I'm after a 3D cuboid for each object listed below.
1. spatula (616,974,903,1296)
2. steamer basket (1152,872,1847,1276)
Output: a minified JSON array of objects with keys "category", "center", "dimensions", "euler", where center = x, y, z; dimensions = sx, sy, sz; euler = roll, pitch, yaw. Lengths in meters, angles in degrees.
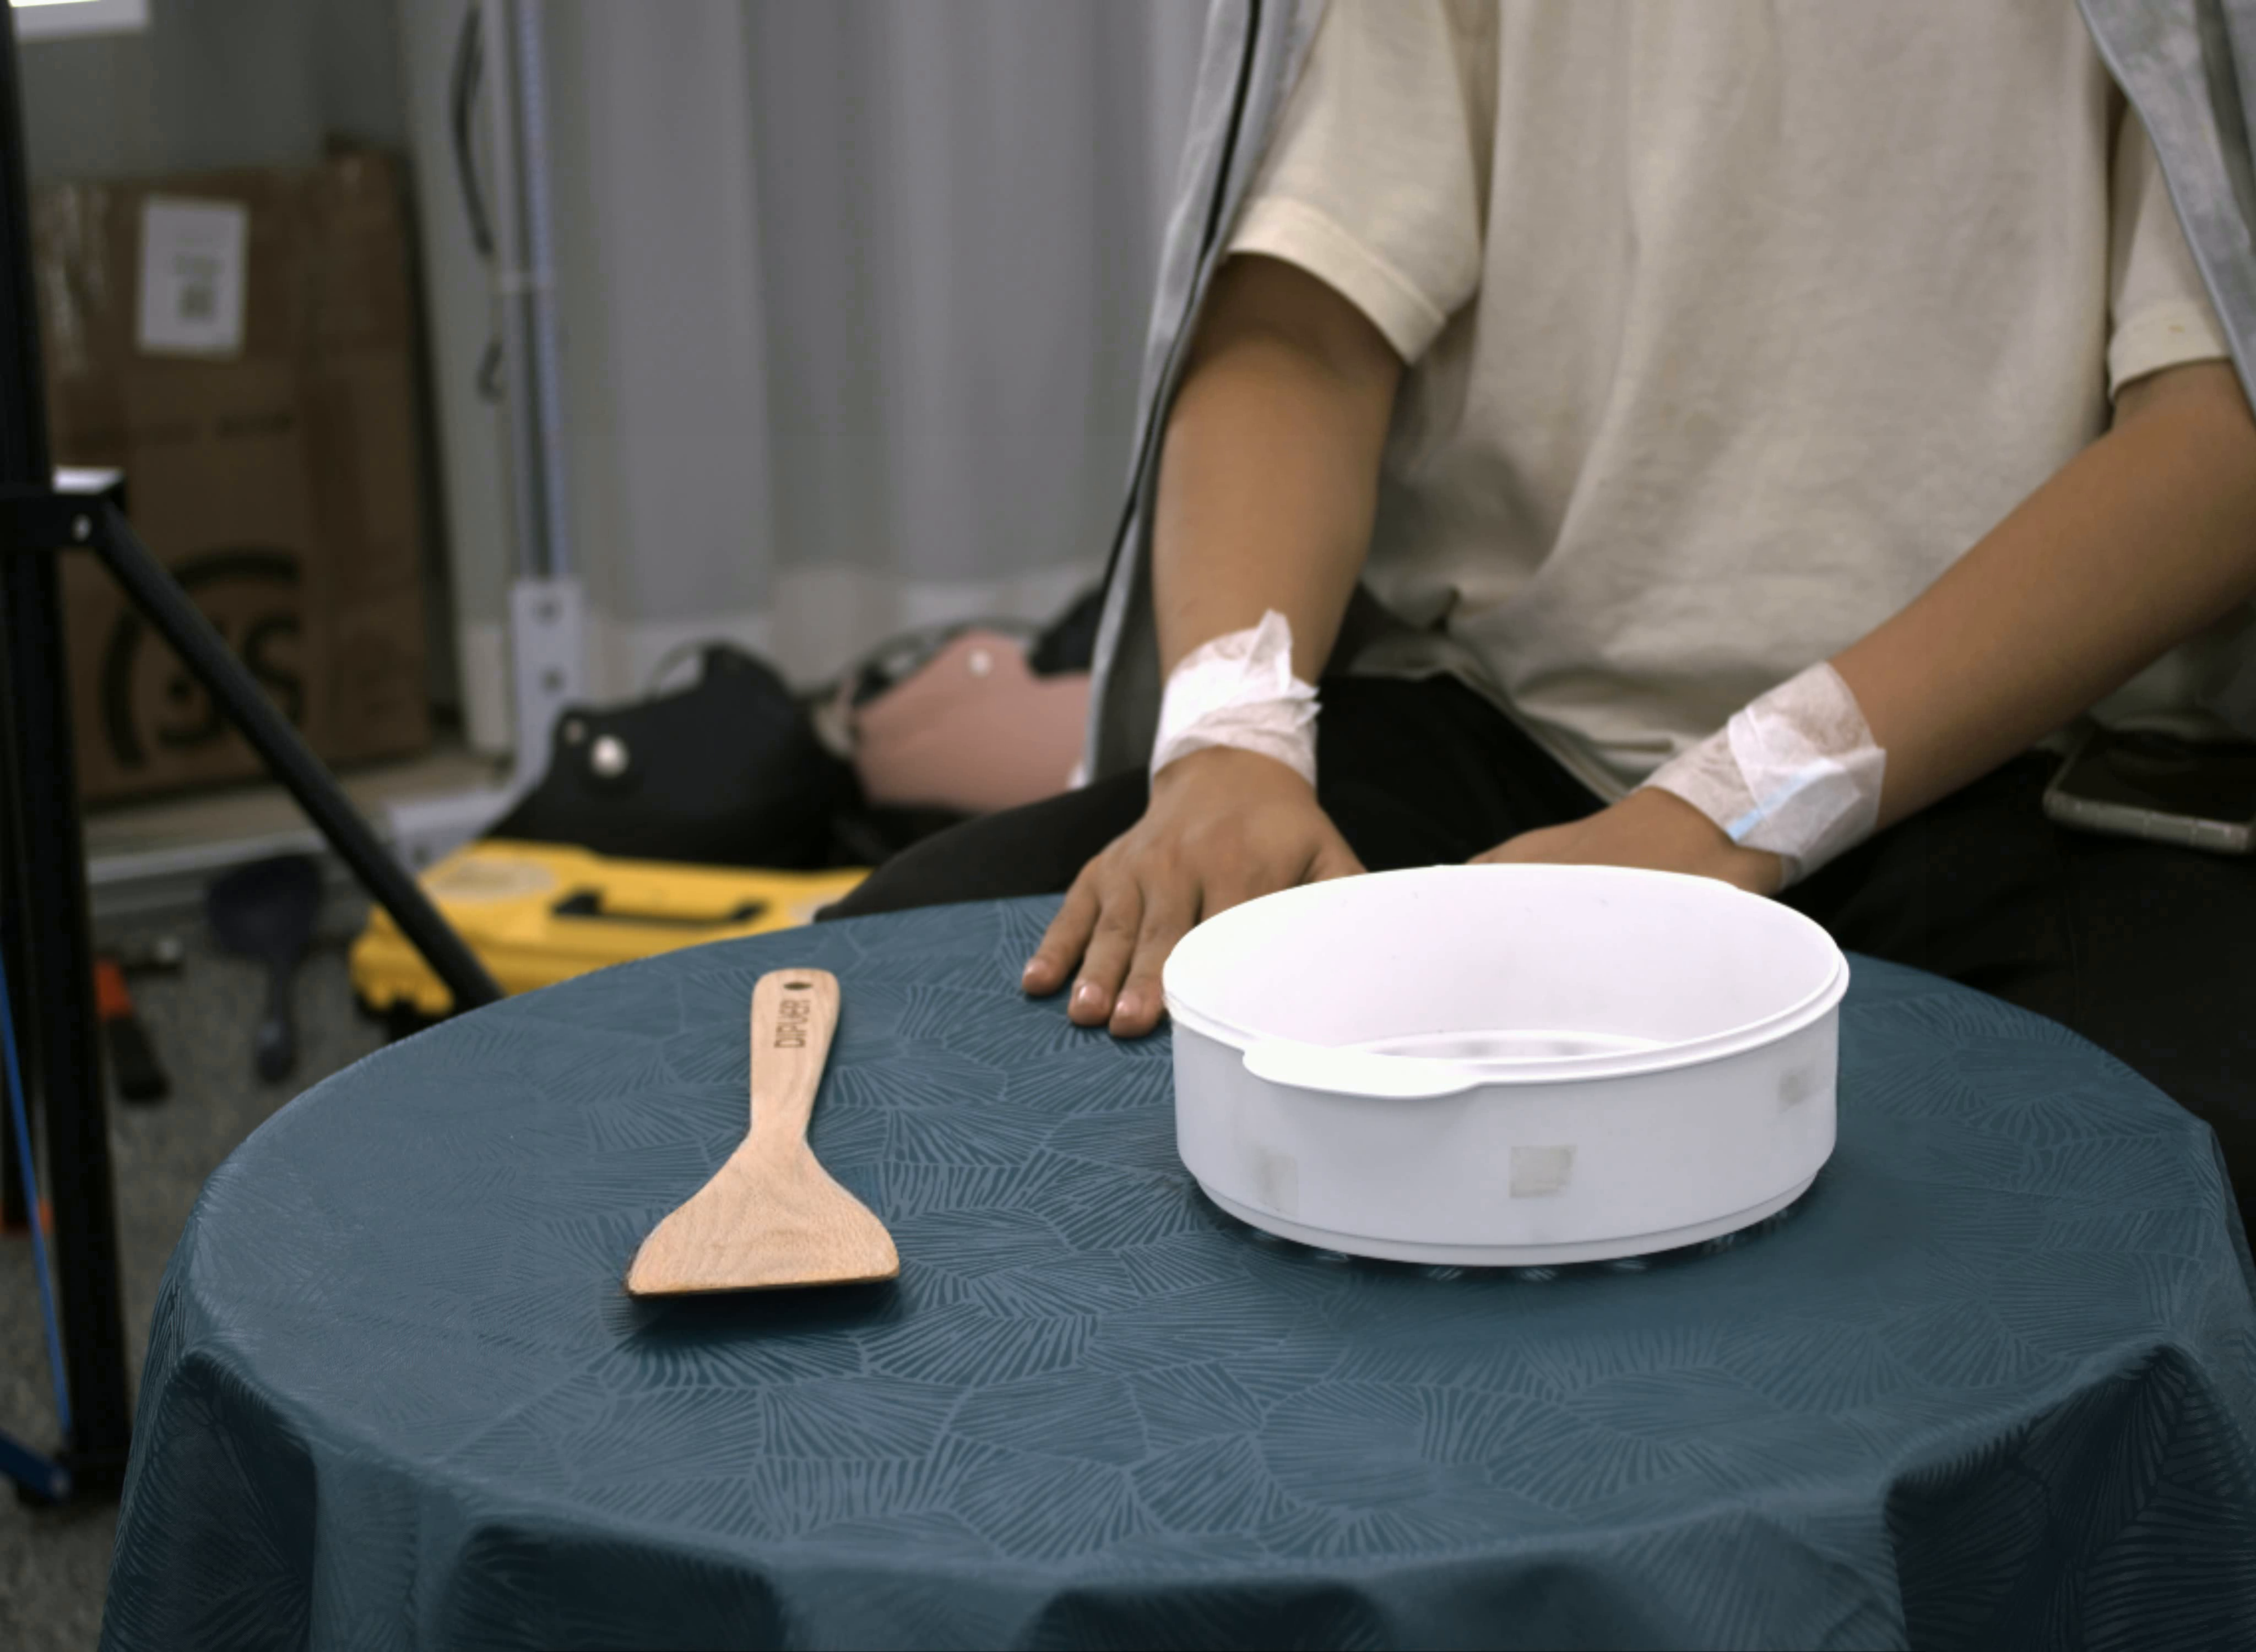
[{"category":"spatula","center":[-0.106,0.090,1.605],"dimensions":[0.079,0.016,0.329],"euler":[-2,15,-1]},{"category":"steamer basket","center":[0.107,0.072,1.545],"dimensions":[0.205,0.069,0.226],"euler":[8,17,29]}]
